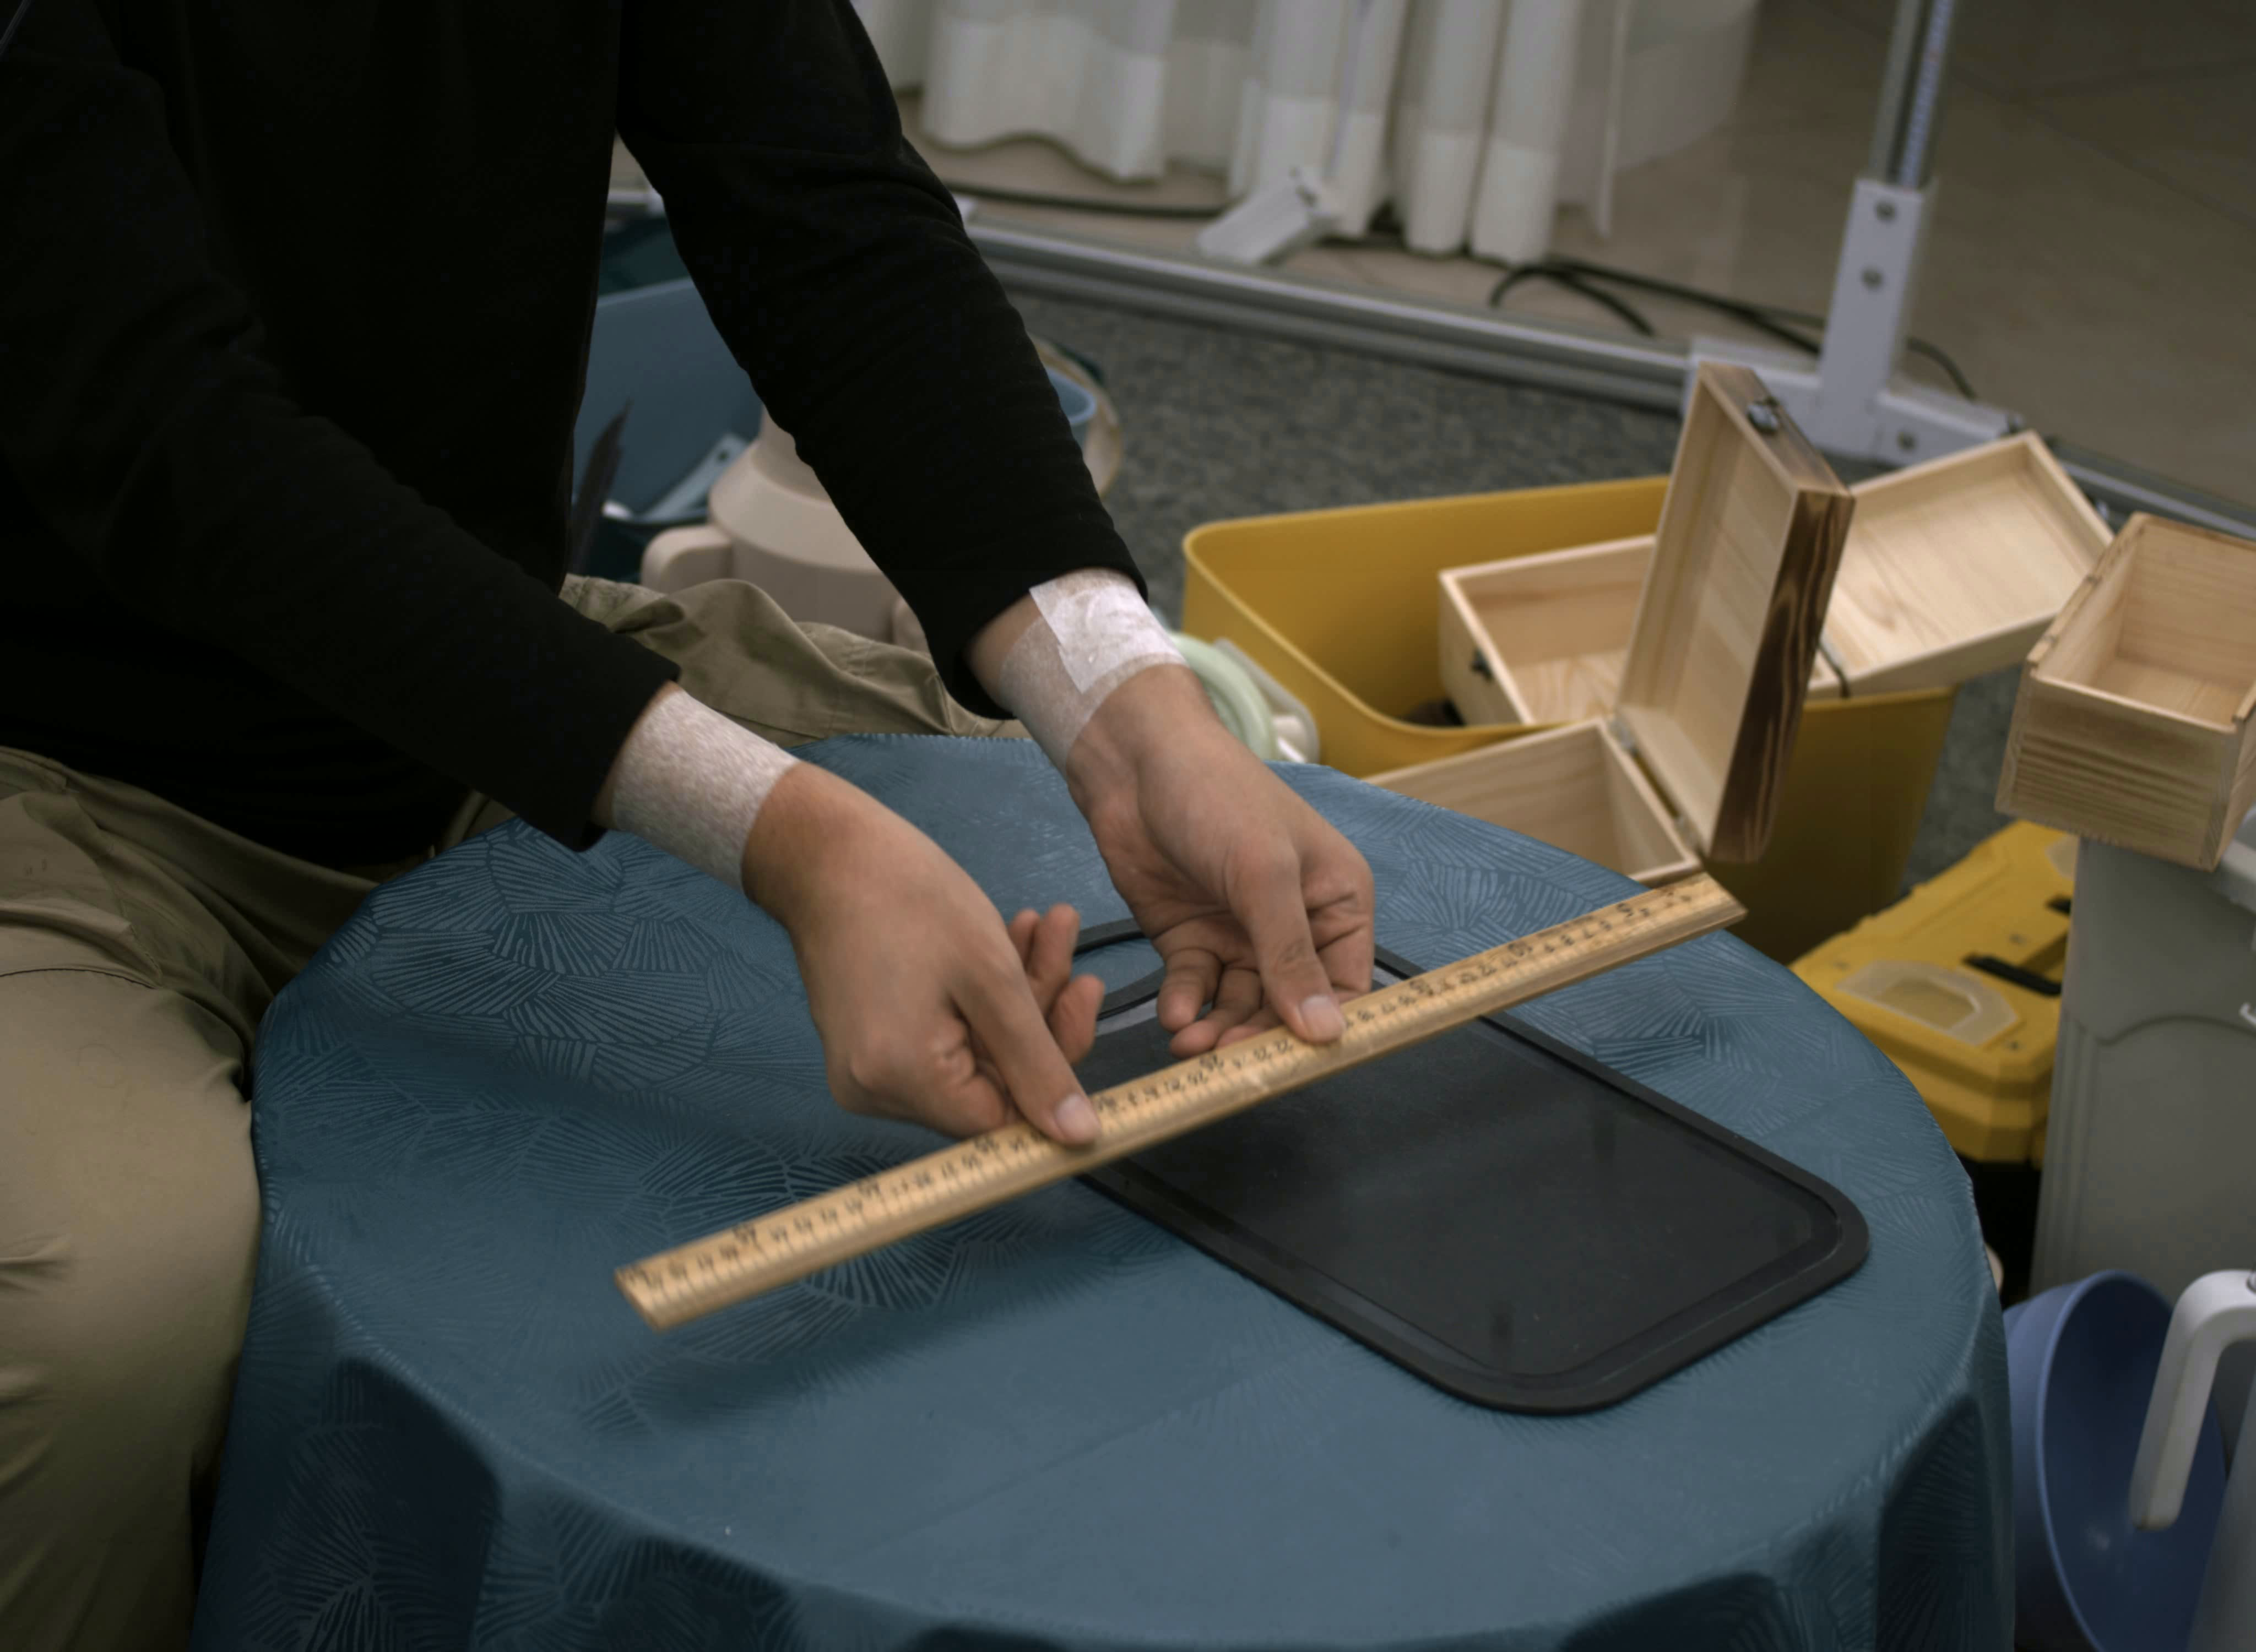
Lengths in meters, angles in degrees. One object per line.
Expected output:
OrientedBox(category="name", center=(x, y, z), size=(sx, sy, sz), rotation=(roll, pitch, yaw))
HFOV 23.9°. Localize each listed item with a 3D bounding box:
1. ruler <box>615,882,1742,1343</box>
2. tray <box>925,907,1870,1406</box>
OrientedBox(category="ruler", center=(0.032, 0.090, 1.801), size=(0.498, 0.006, 0.027), rotation=(-18, 52, -38))
OrientedBox(category="tray", center=(0.085, 0.105, 1.849), size=(0.328, 0.010, 0.210), rotation=(28, 34, 36))
